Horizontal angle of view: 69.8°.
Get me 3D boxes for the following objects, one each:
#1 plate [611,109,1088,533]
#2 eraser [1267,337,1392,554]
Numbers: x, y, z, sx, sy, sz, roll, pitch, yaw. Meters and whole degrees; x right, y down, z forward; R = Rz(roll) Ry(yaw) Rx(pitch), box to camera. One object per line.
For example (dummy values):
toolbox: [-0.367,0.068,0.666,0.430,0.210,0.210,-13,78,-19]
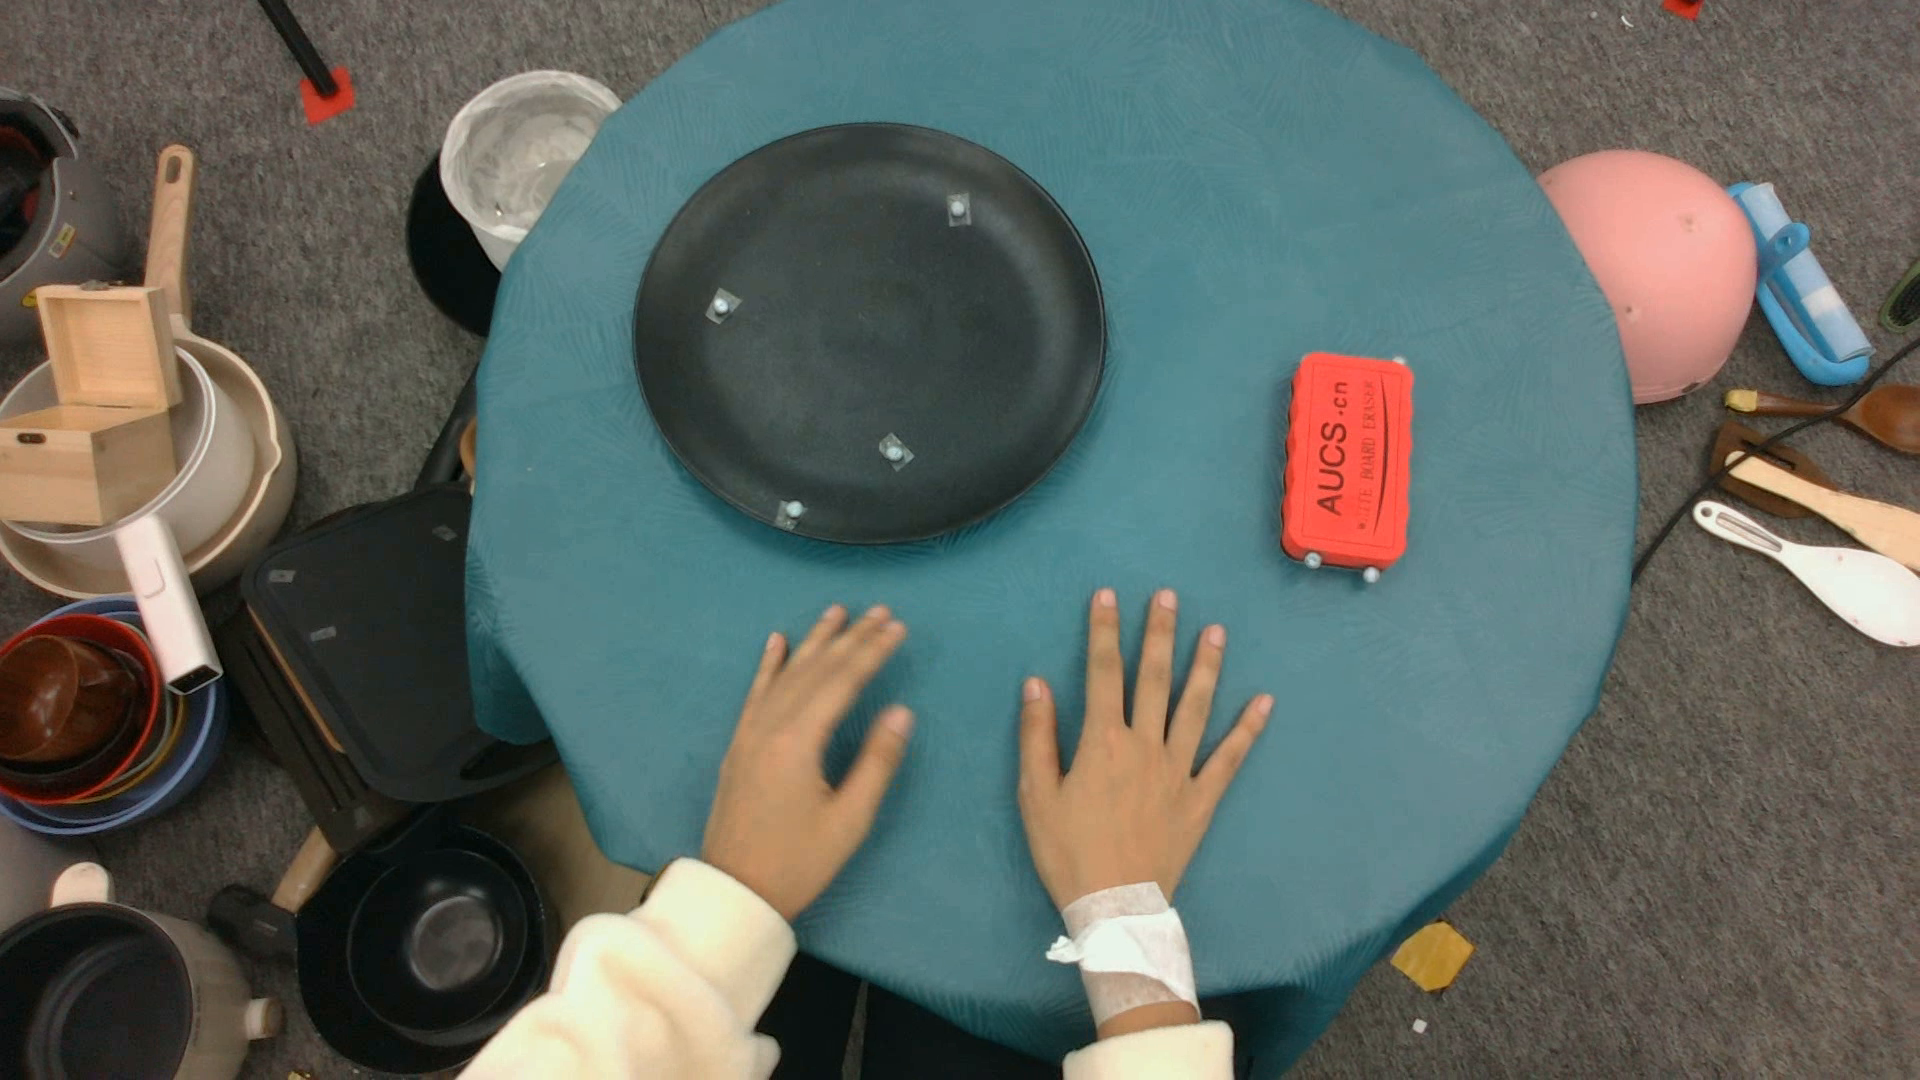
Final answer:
plate: [-0.056,-0.115,0.713,0.244,0.023,0.245,1,71,-2]
eraser: [0.186,-0.048,0.695,0.059,0.023,0.108,8,68,0]
